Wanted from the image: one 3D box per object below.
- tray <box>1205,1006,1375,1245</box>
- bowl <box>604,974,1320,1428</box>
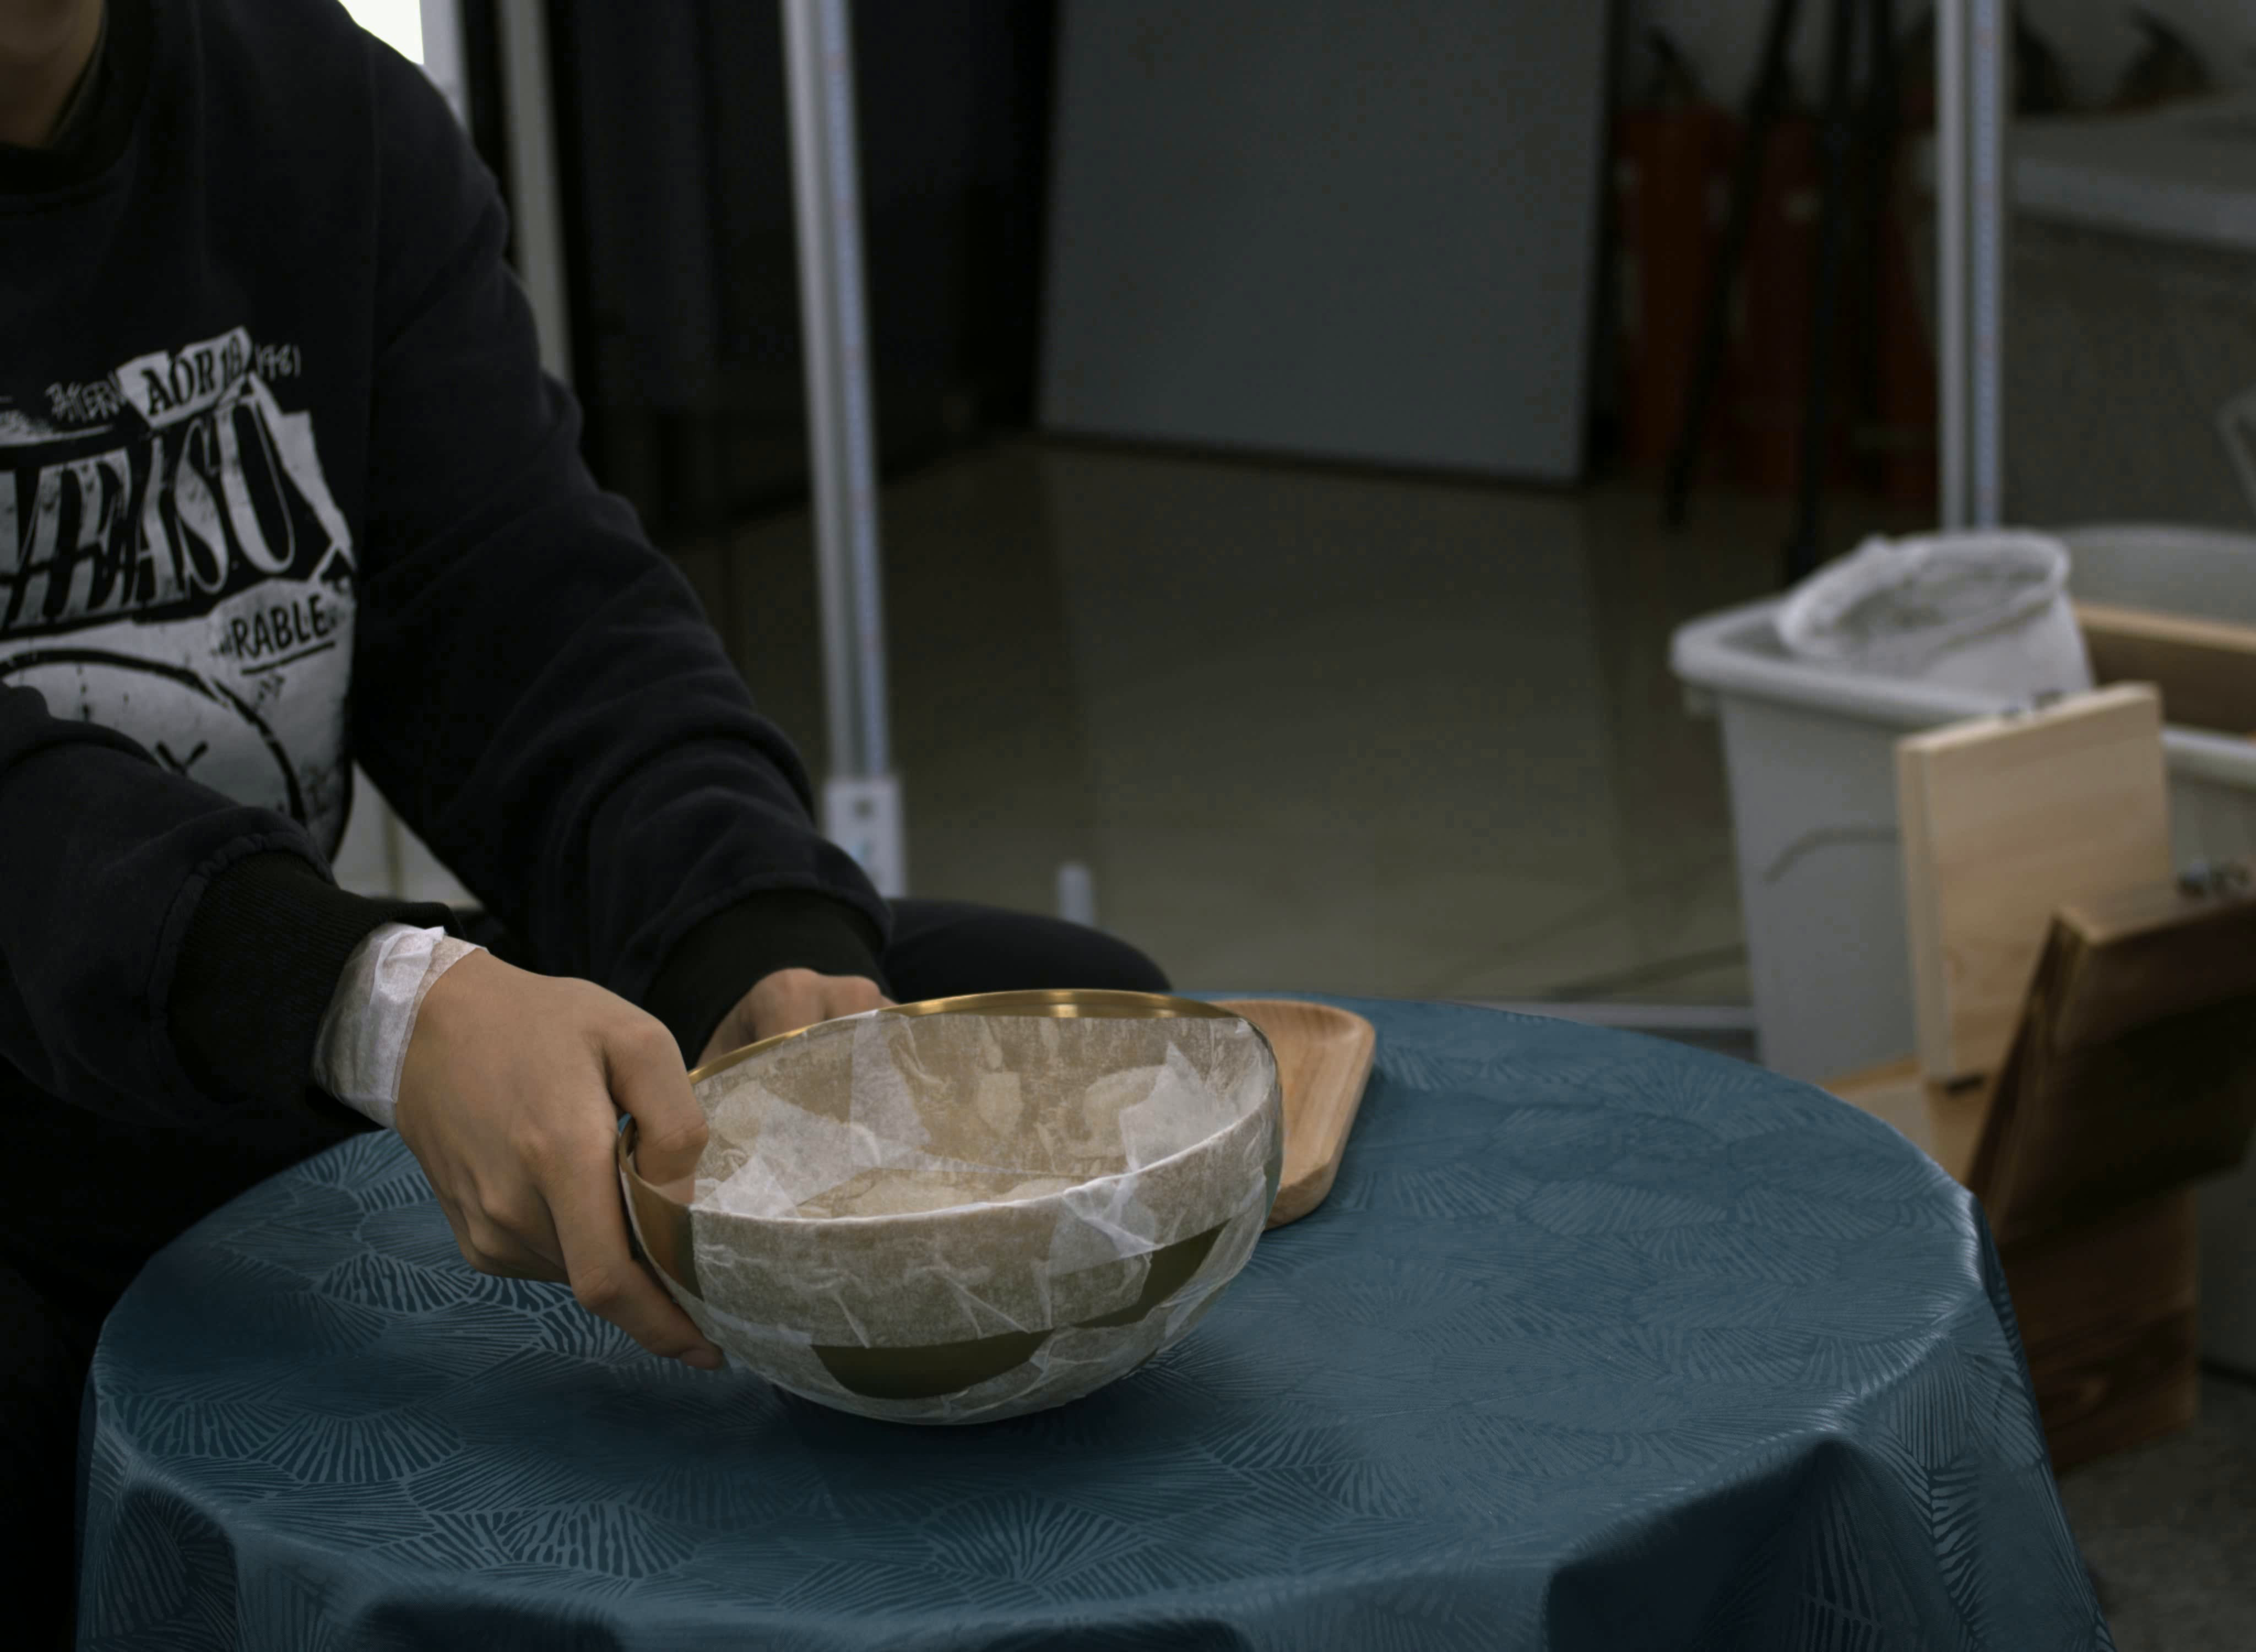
[{"bbox_3d":[0.029,0.100,1.816,0.101,0.020,0.230,-4,16,9],"label":"tray"},{"bbox_3d":[-0.044,0.119,1.590,0.212,0.095,0.215,-9,15,1],"label":"bowl"}]
